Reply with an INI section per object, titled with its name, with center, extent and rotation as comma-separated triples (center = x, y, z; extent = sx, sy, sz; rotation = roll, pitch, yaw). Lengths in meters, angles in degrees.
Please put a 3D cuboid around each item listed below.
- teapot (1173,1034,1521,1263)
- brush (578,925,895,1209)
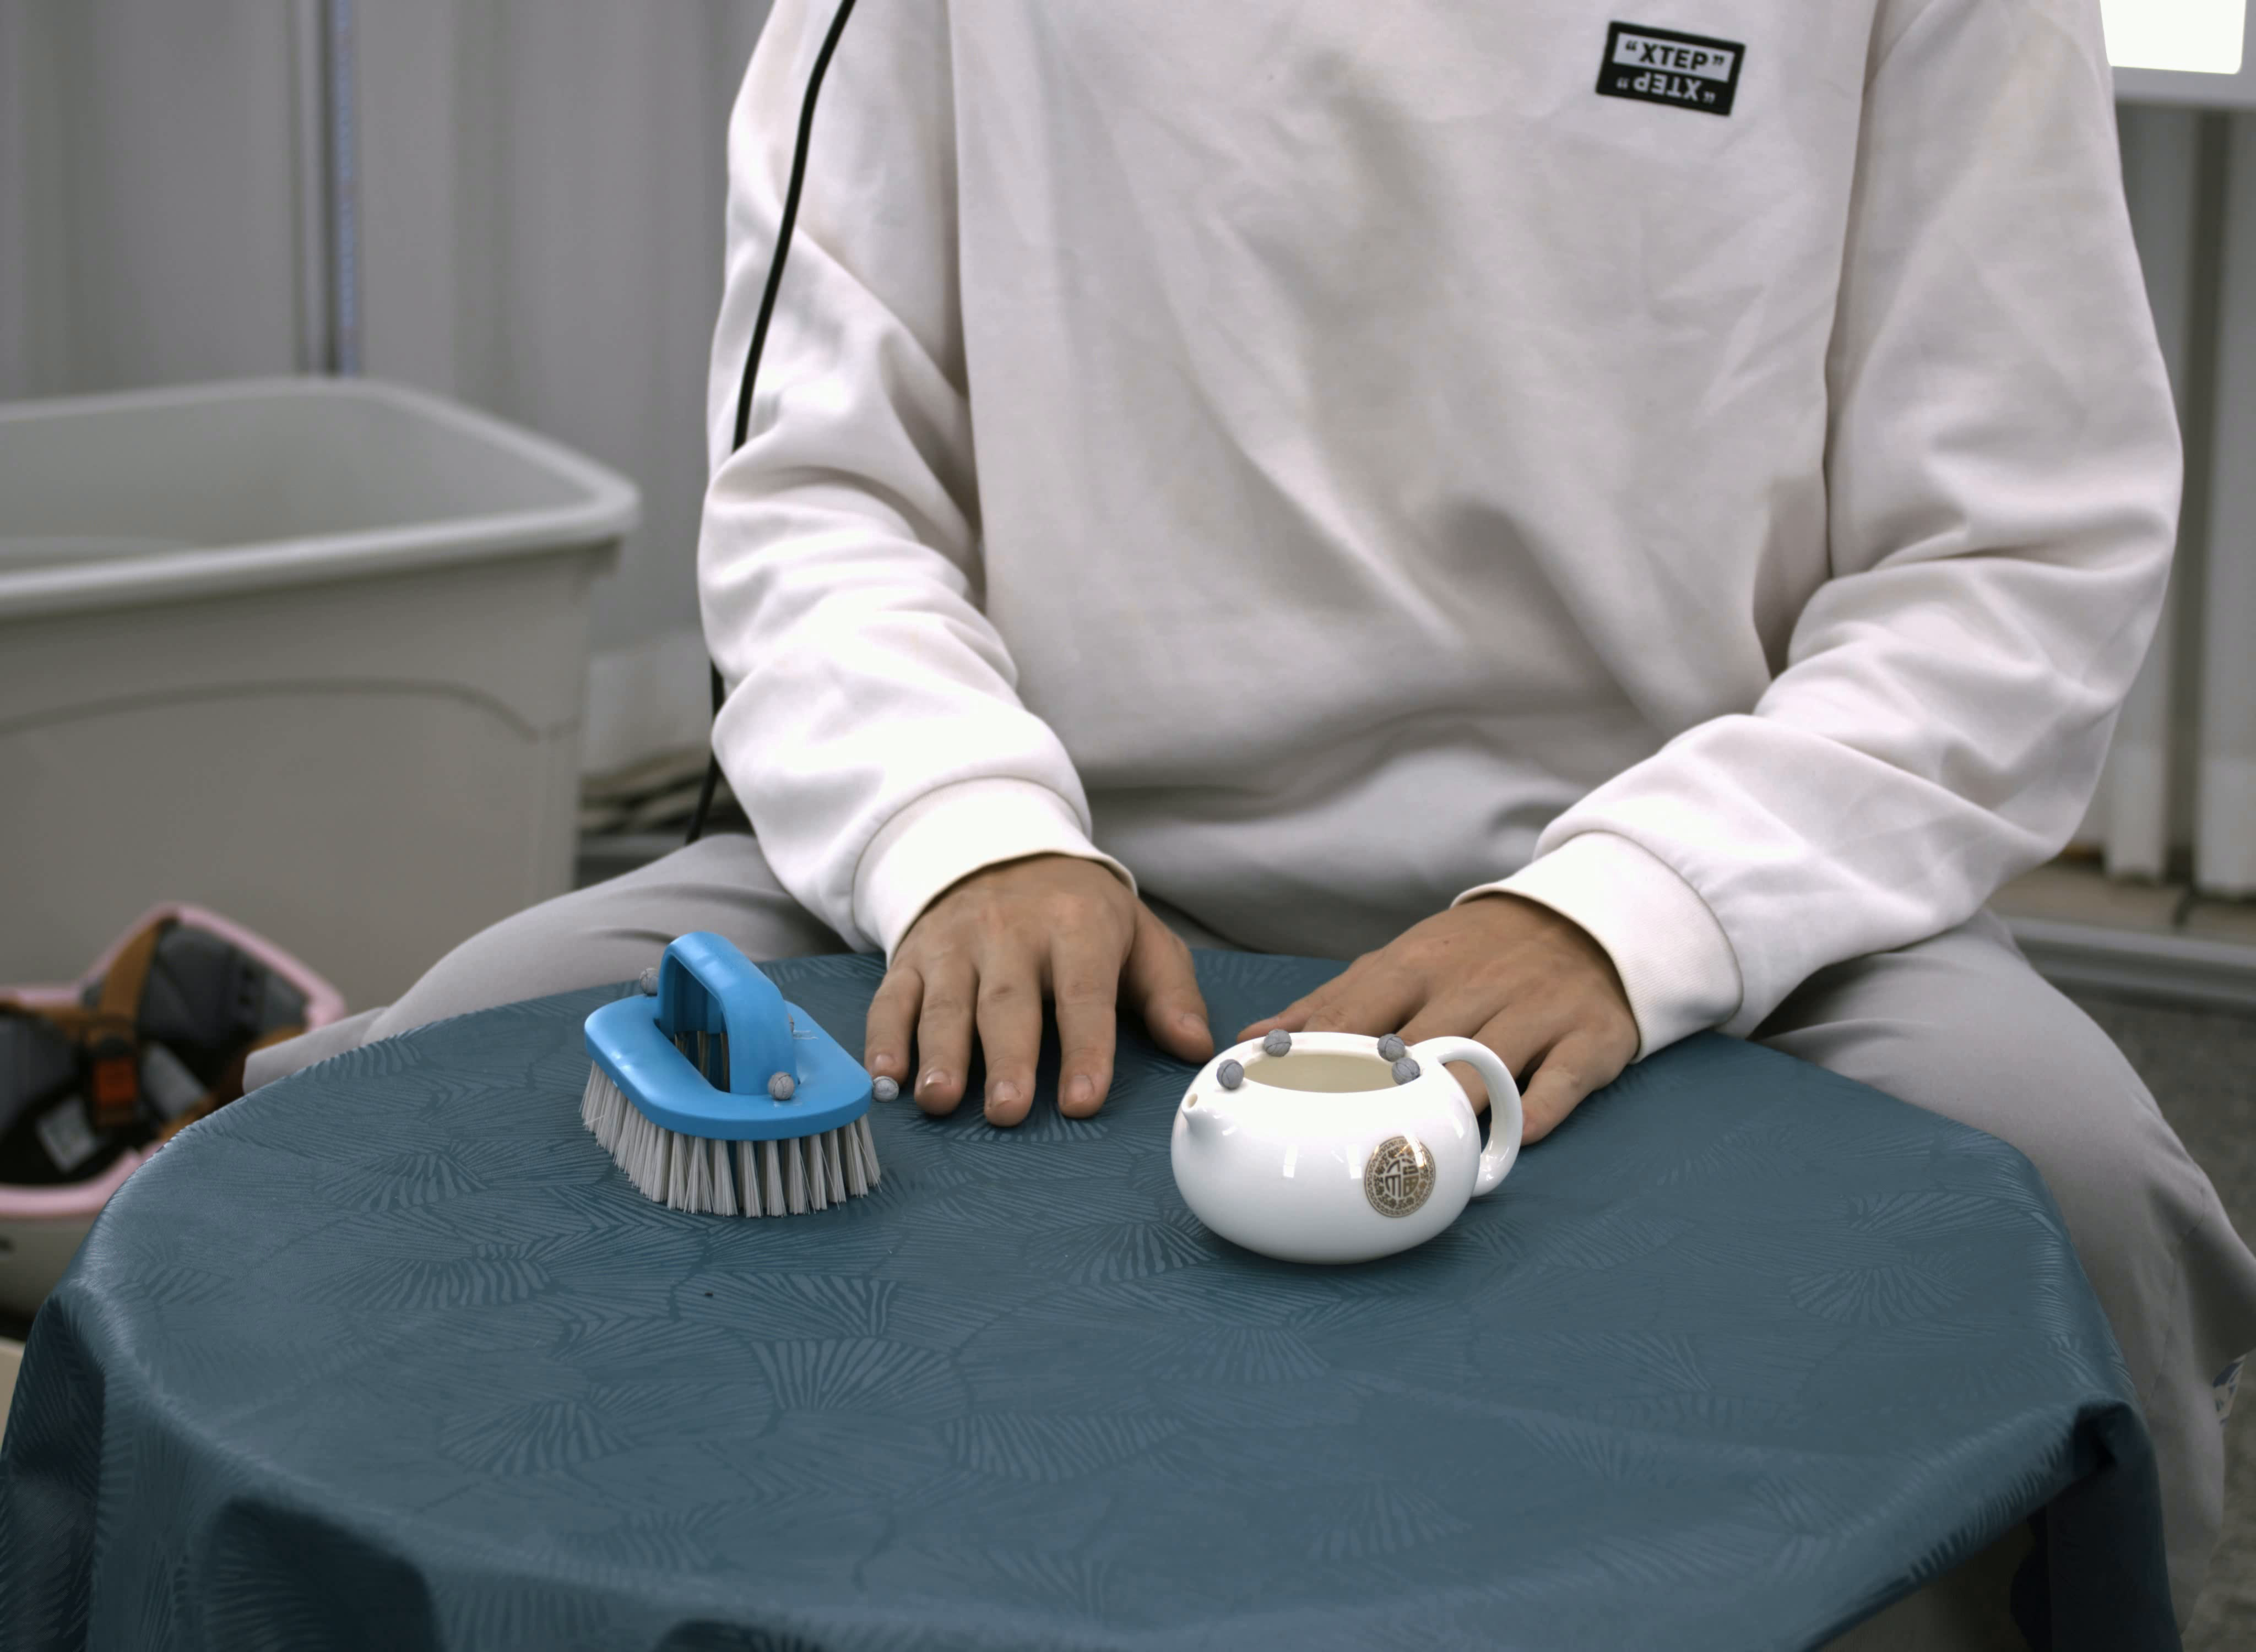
[teapot]
center = 0.068, 0.095, 1.594
extent = 0.128, 0.057, 0.092
rotation = -11, 15, -39
[brush]
center = -0.126, 0.069, 1.656
extent = 0.084, 0.064, 0.140
rotation = -10, 17, -17
